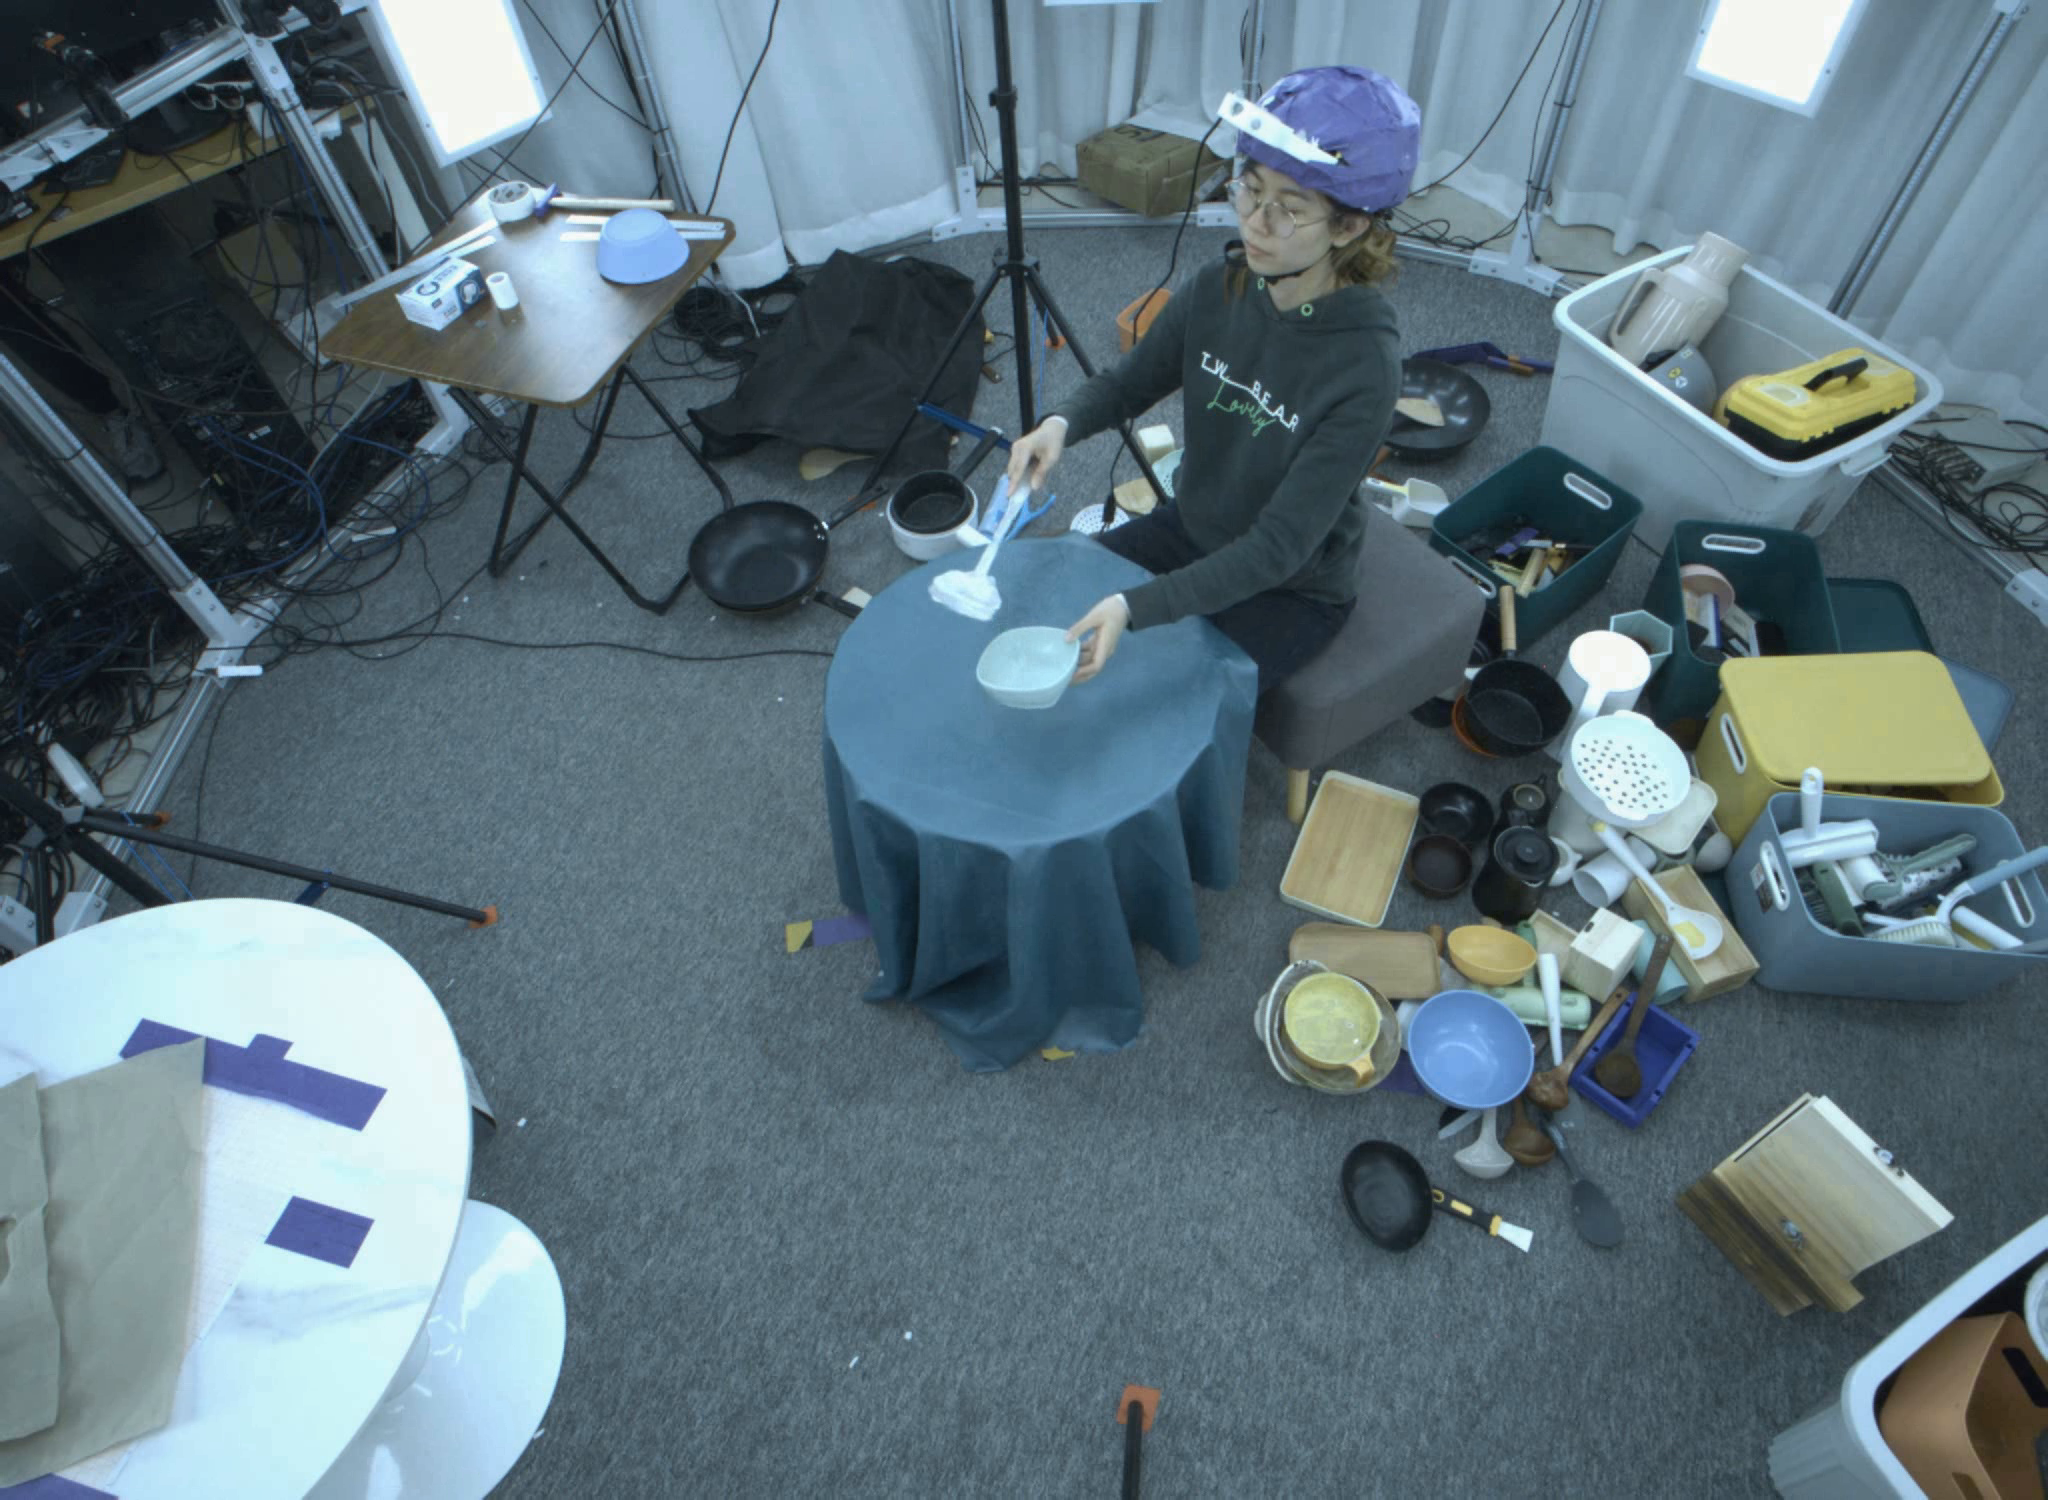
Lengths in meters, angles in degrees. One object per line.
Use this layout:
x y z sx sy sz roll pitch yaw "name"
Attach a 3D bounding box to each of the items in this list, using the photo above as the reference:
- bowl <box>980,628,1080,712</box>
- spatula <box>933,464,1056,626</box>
0.014 -0.104 1.721 0.150 0.059 0.150 -8 45 10 "bowl"
-0.024 -0.309 1.751 0.099 0.045 0.364 25 59 0 "spatula"
